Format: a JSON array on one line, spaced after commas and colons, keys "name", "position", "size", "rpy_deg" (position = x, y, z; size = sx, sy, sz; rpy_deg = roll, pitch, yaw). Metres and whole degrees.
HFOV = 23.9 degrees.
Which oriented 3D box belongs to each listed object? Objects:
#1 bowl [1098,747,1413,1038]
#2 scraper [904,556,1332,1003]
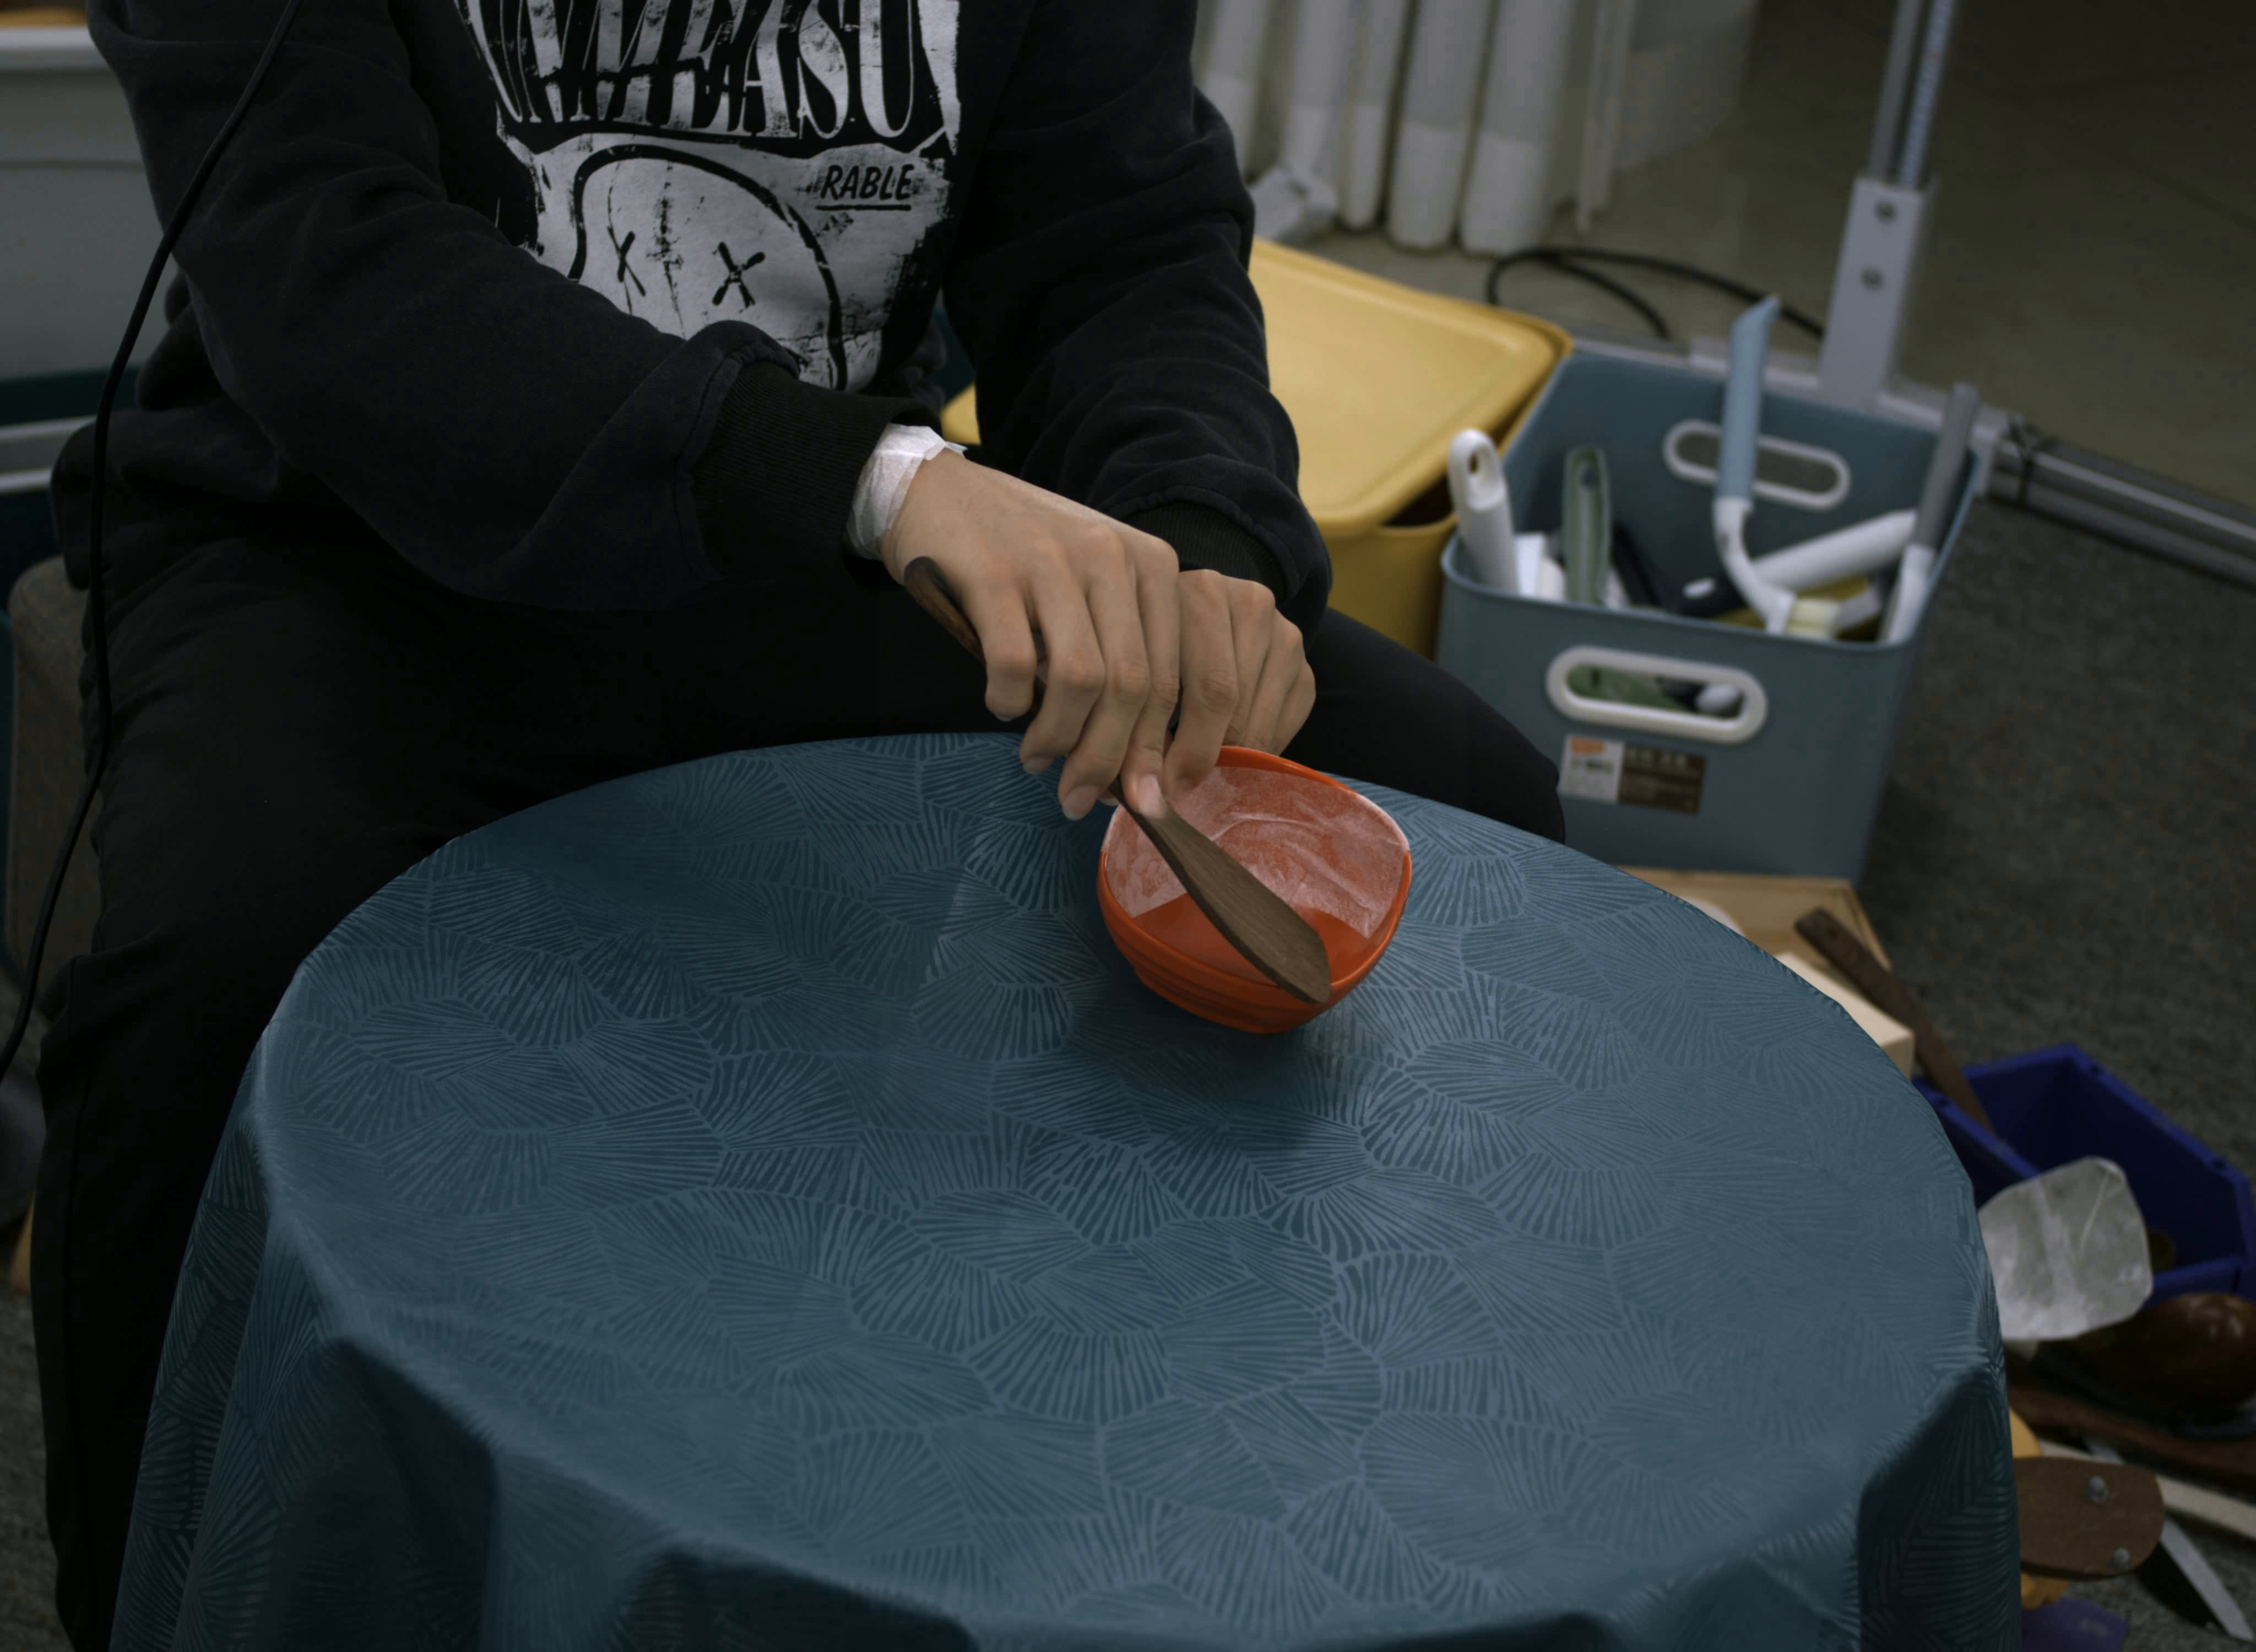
[{"name": "bowl", "position": [0.042, 0.031, 1.914], "size": [0.118, 0.051, 0.120], "rpy_deg": [6, 48, -8]}, {"name": "scraper", "position": [-0.004, -0.017, 1.847], "size": [0.210, 0.011, 0.076], "rpy_deg": [45, 14, -13]}]
